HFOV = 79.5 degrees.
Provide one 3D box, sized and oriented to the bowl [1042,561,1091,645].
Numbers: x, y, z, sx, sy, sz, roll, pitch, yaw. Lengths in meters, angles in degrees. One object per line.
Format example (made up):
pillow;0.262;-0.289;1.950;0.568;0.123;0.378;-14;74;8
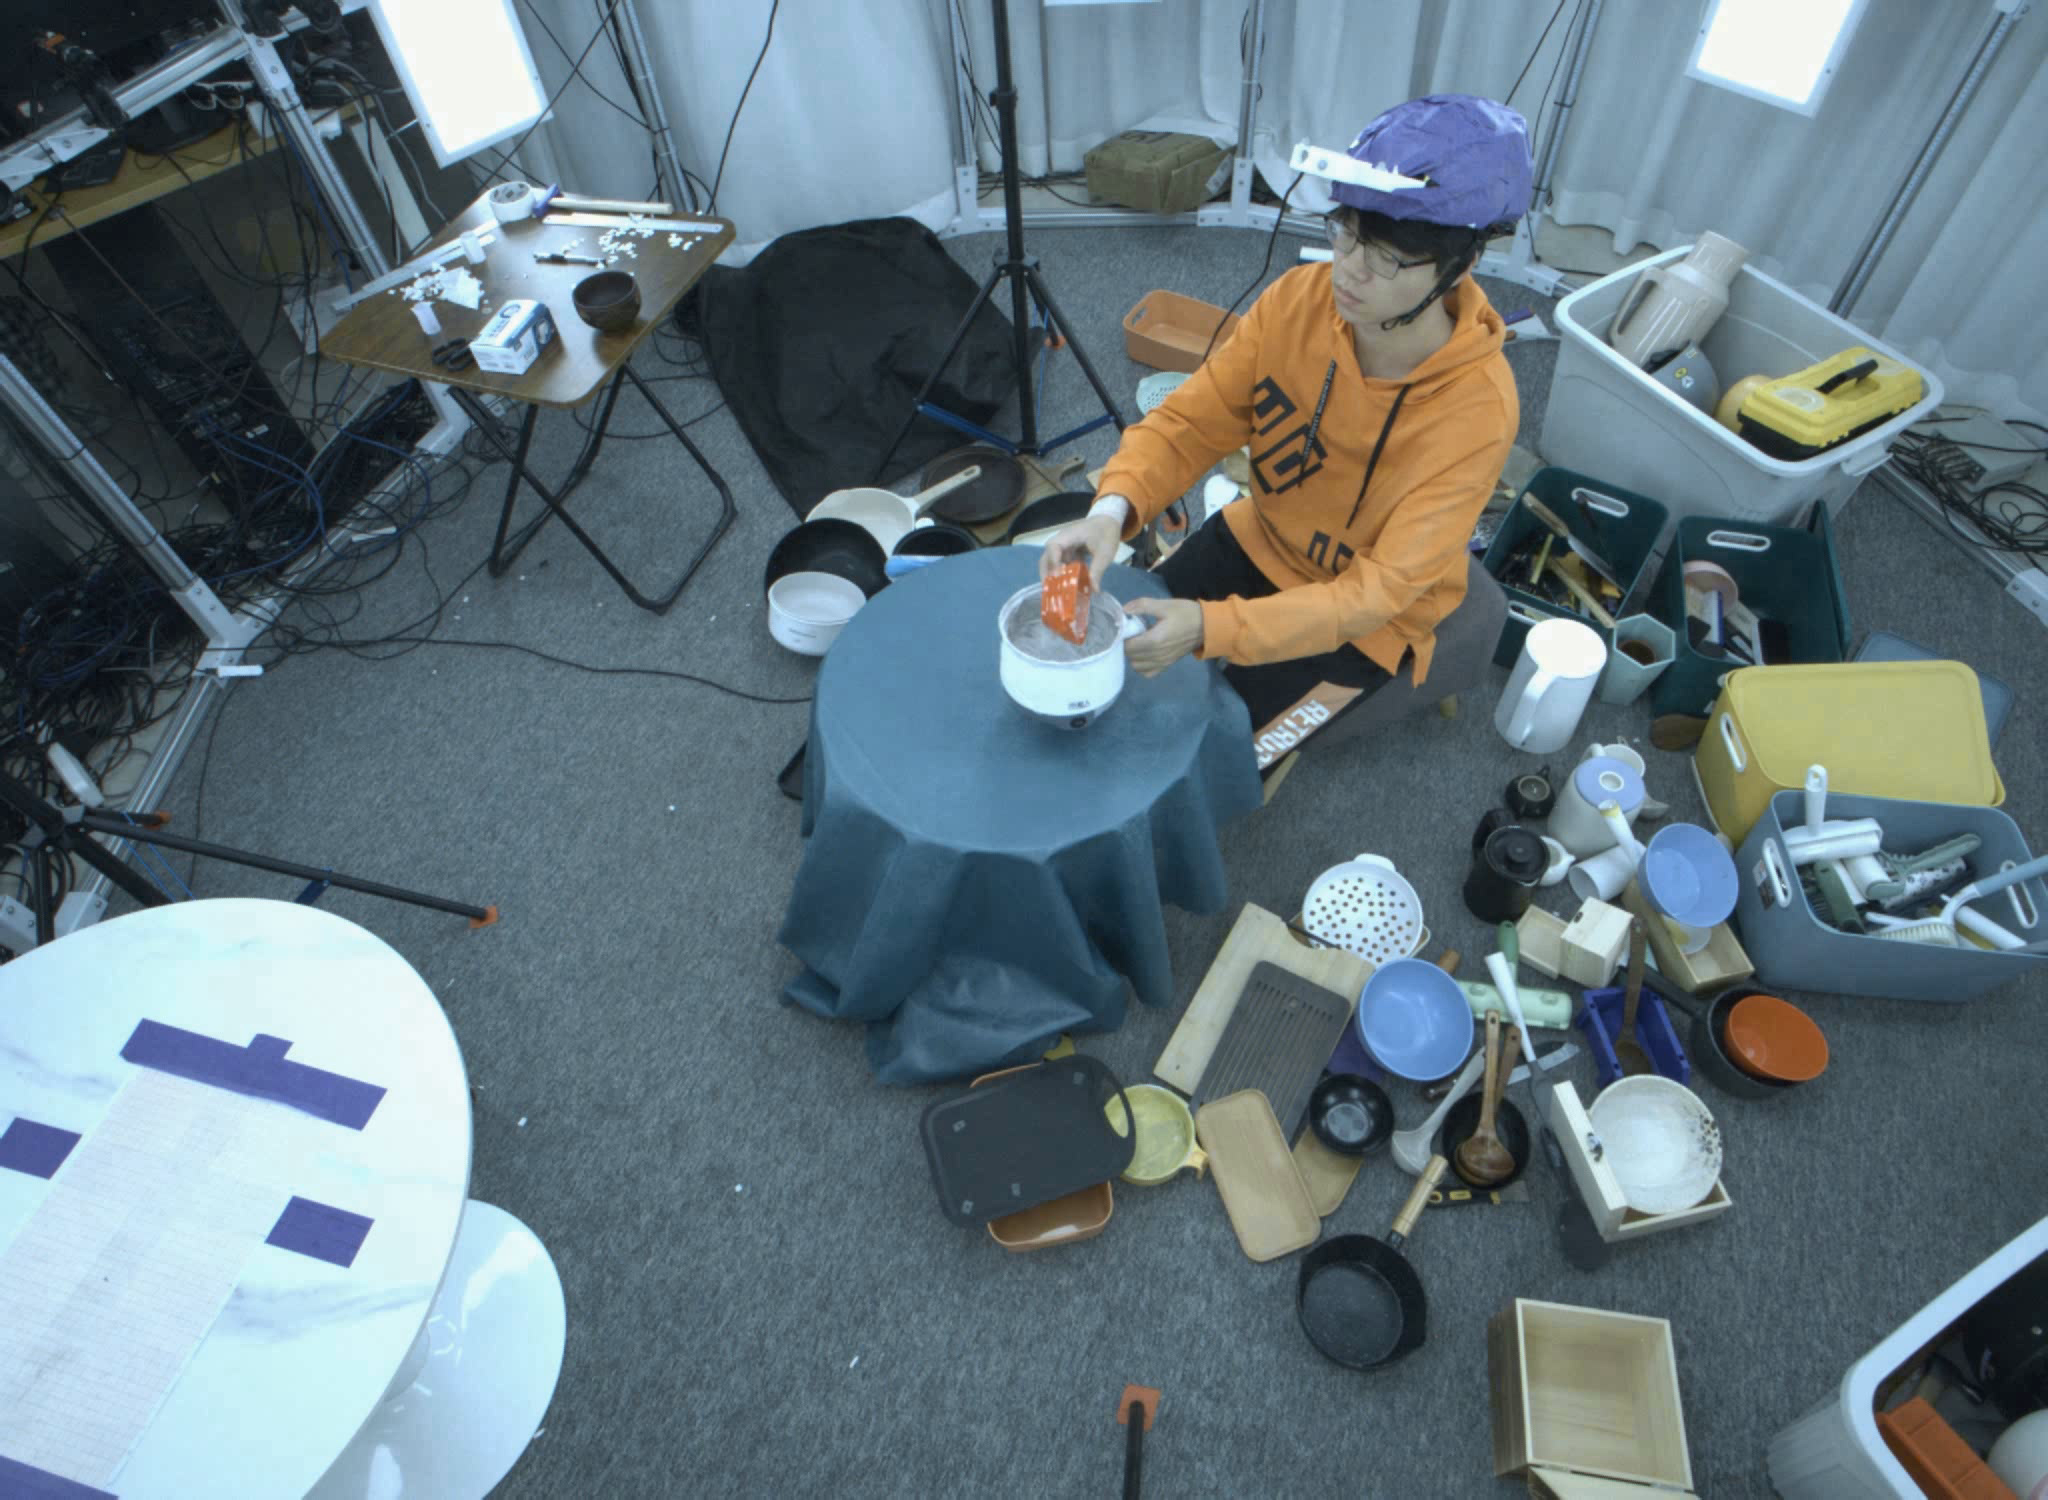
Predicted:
bowl;0.056;-0.198;1.661;0.051;0.120;0.118;3;55;12

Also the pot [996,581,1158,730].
pot;0.078;-0.140;1.739;0.235;0.138;0.175;-12;50;-11
